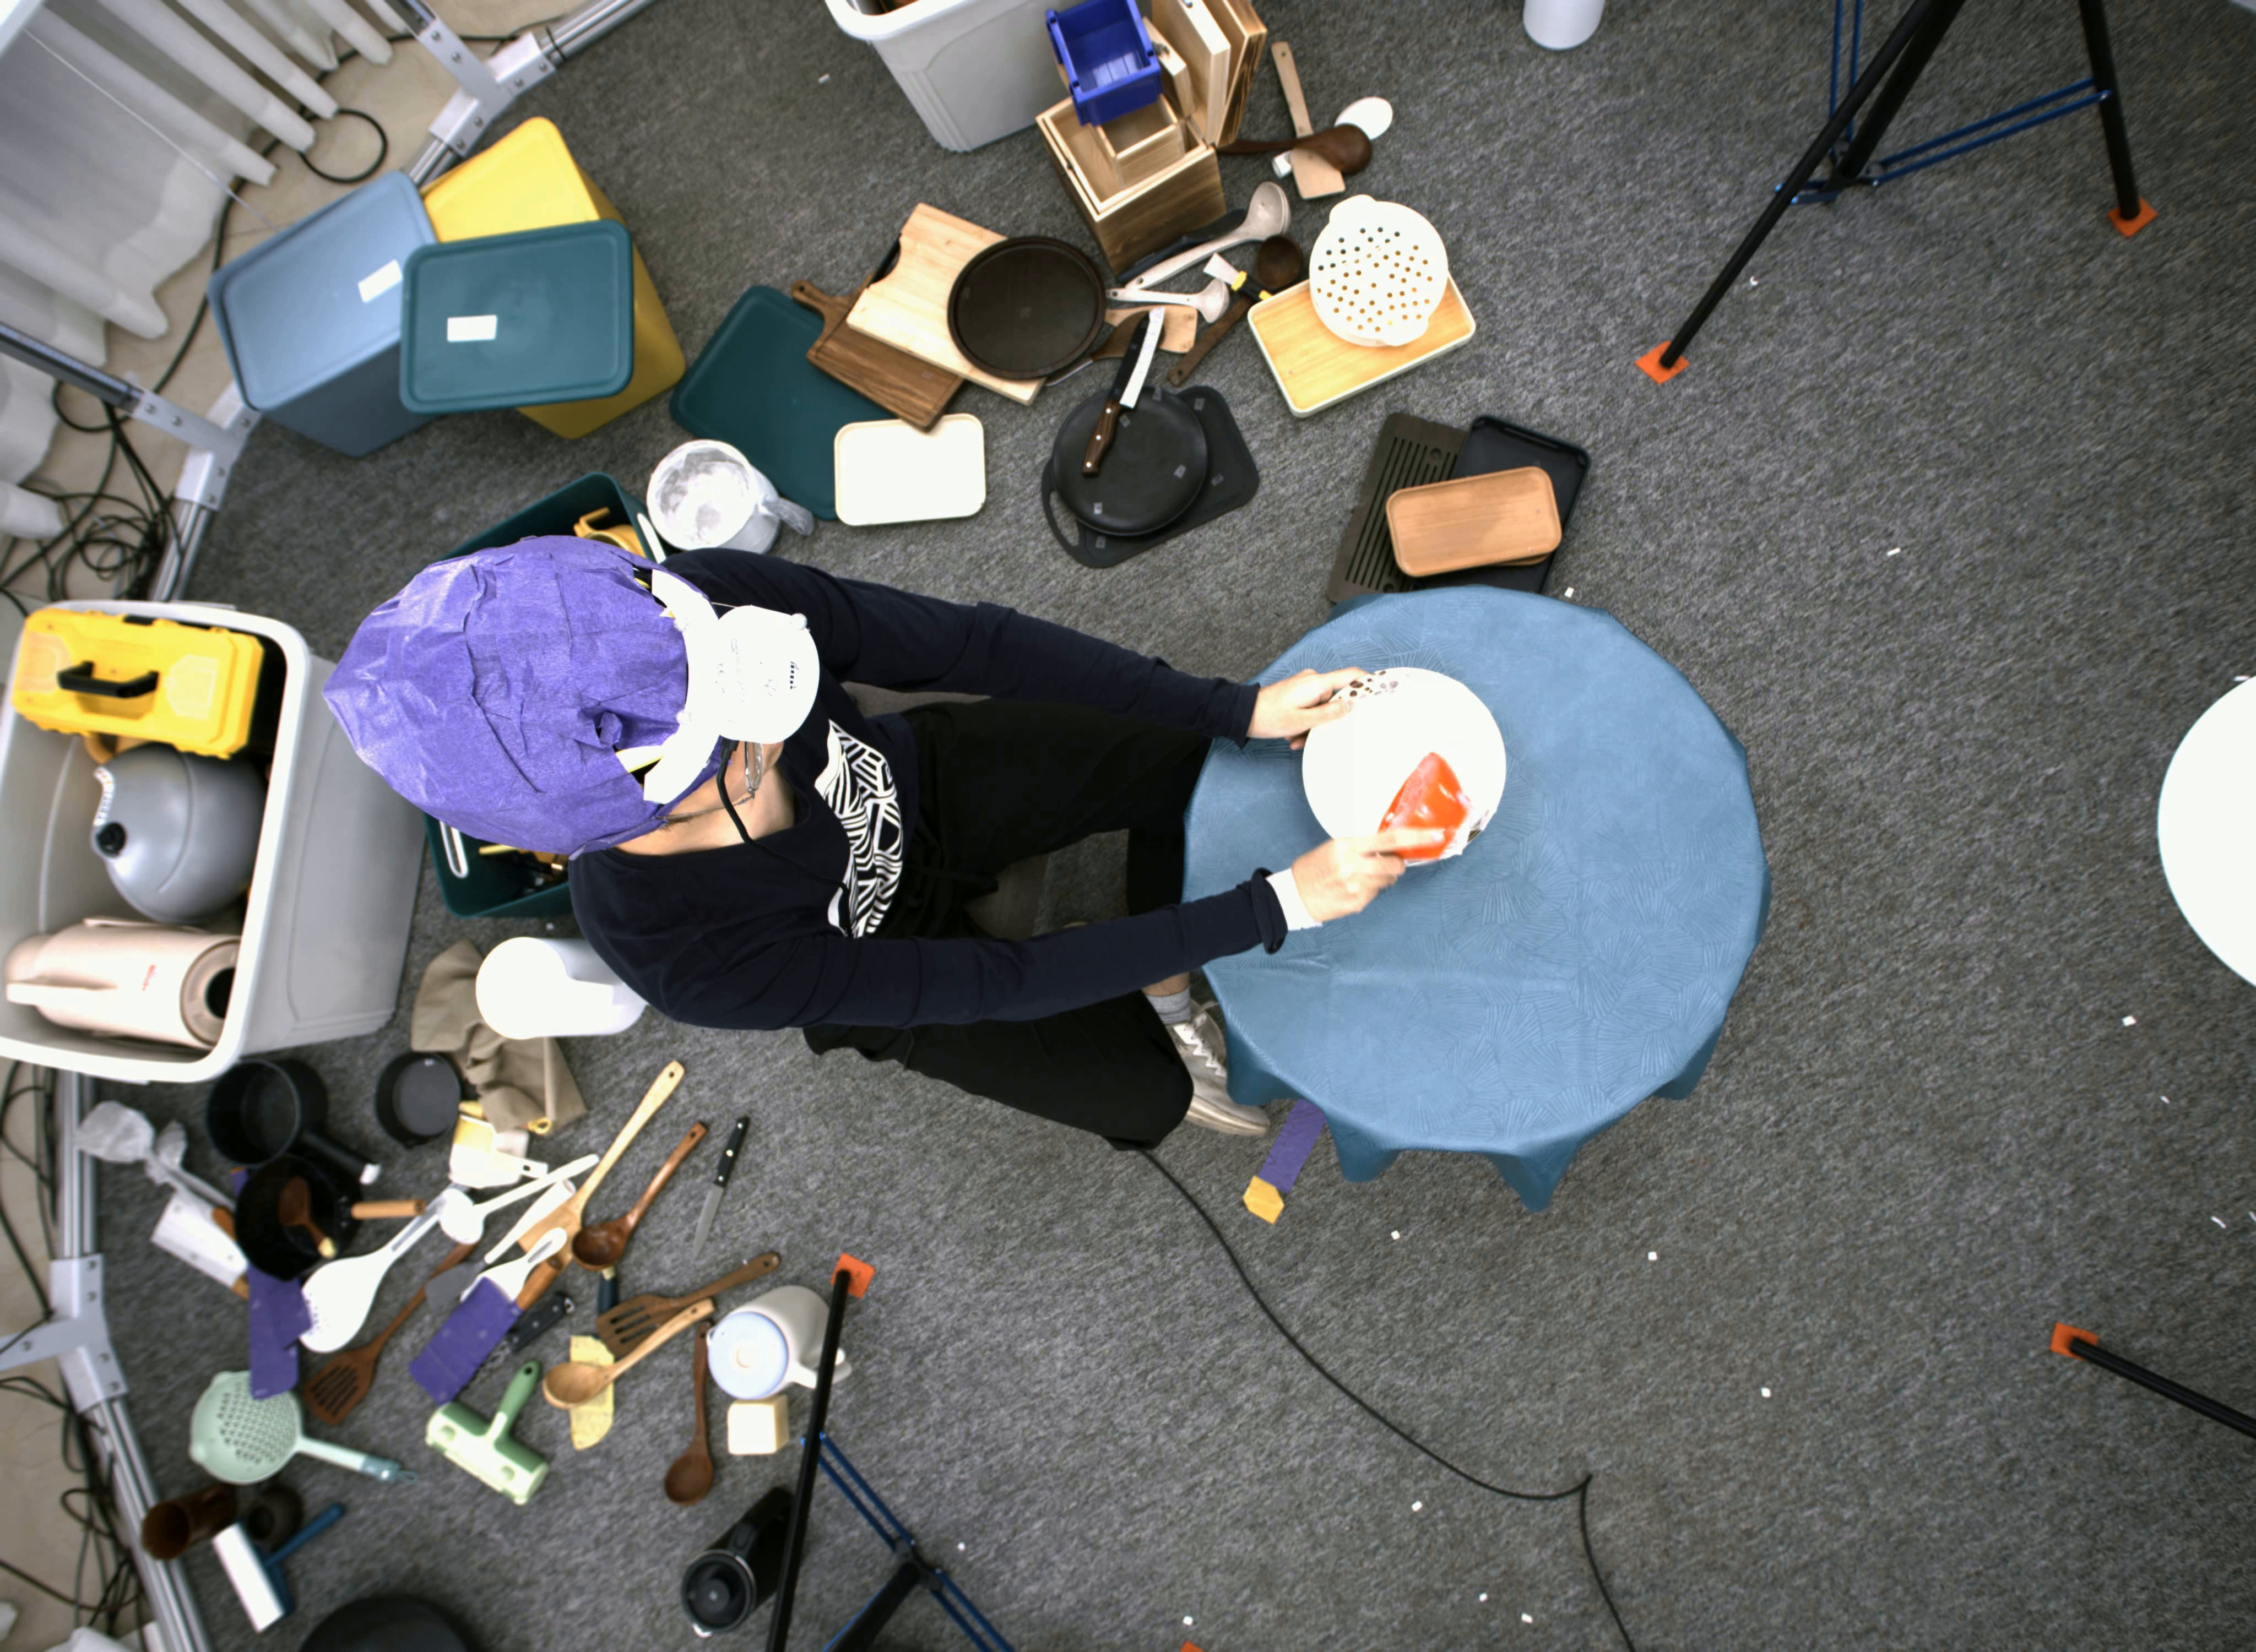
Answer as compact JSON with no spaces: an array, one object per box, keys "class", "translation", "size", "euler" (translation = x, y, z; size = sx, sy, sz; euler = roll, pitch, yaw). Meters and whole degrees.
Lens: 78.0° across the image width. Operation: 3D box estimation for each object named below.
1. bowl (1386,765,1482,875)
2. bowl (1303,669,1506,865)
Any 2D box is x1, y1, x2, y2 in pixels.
[{"class":"bowl","translation":[0.294,0.001,1.300],"size":[0.051,0.119,0.119],"euler":[31,91,-1]},{"class":"bowl","translation":[0.285,-0.057,1.426],"size":[0.205,0.078,0.203],"euler":[-1,86,11]}]
